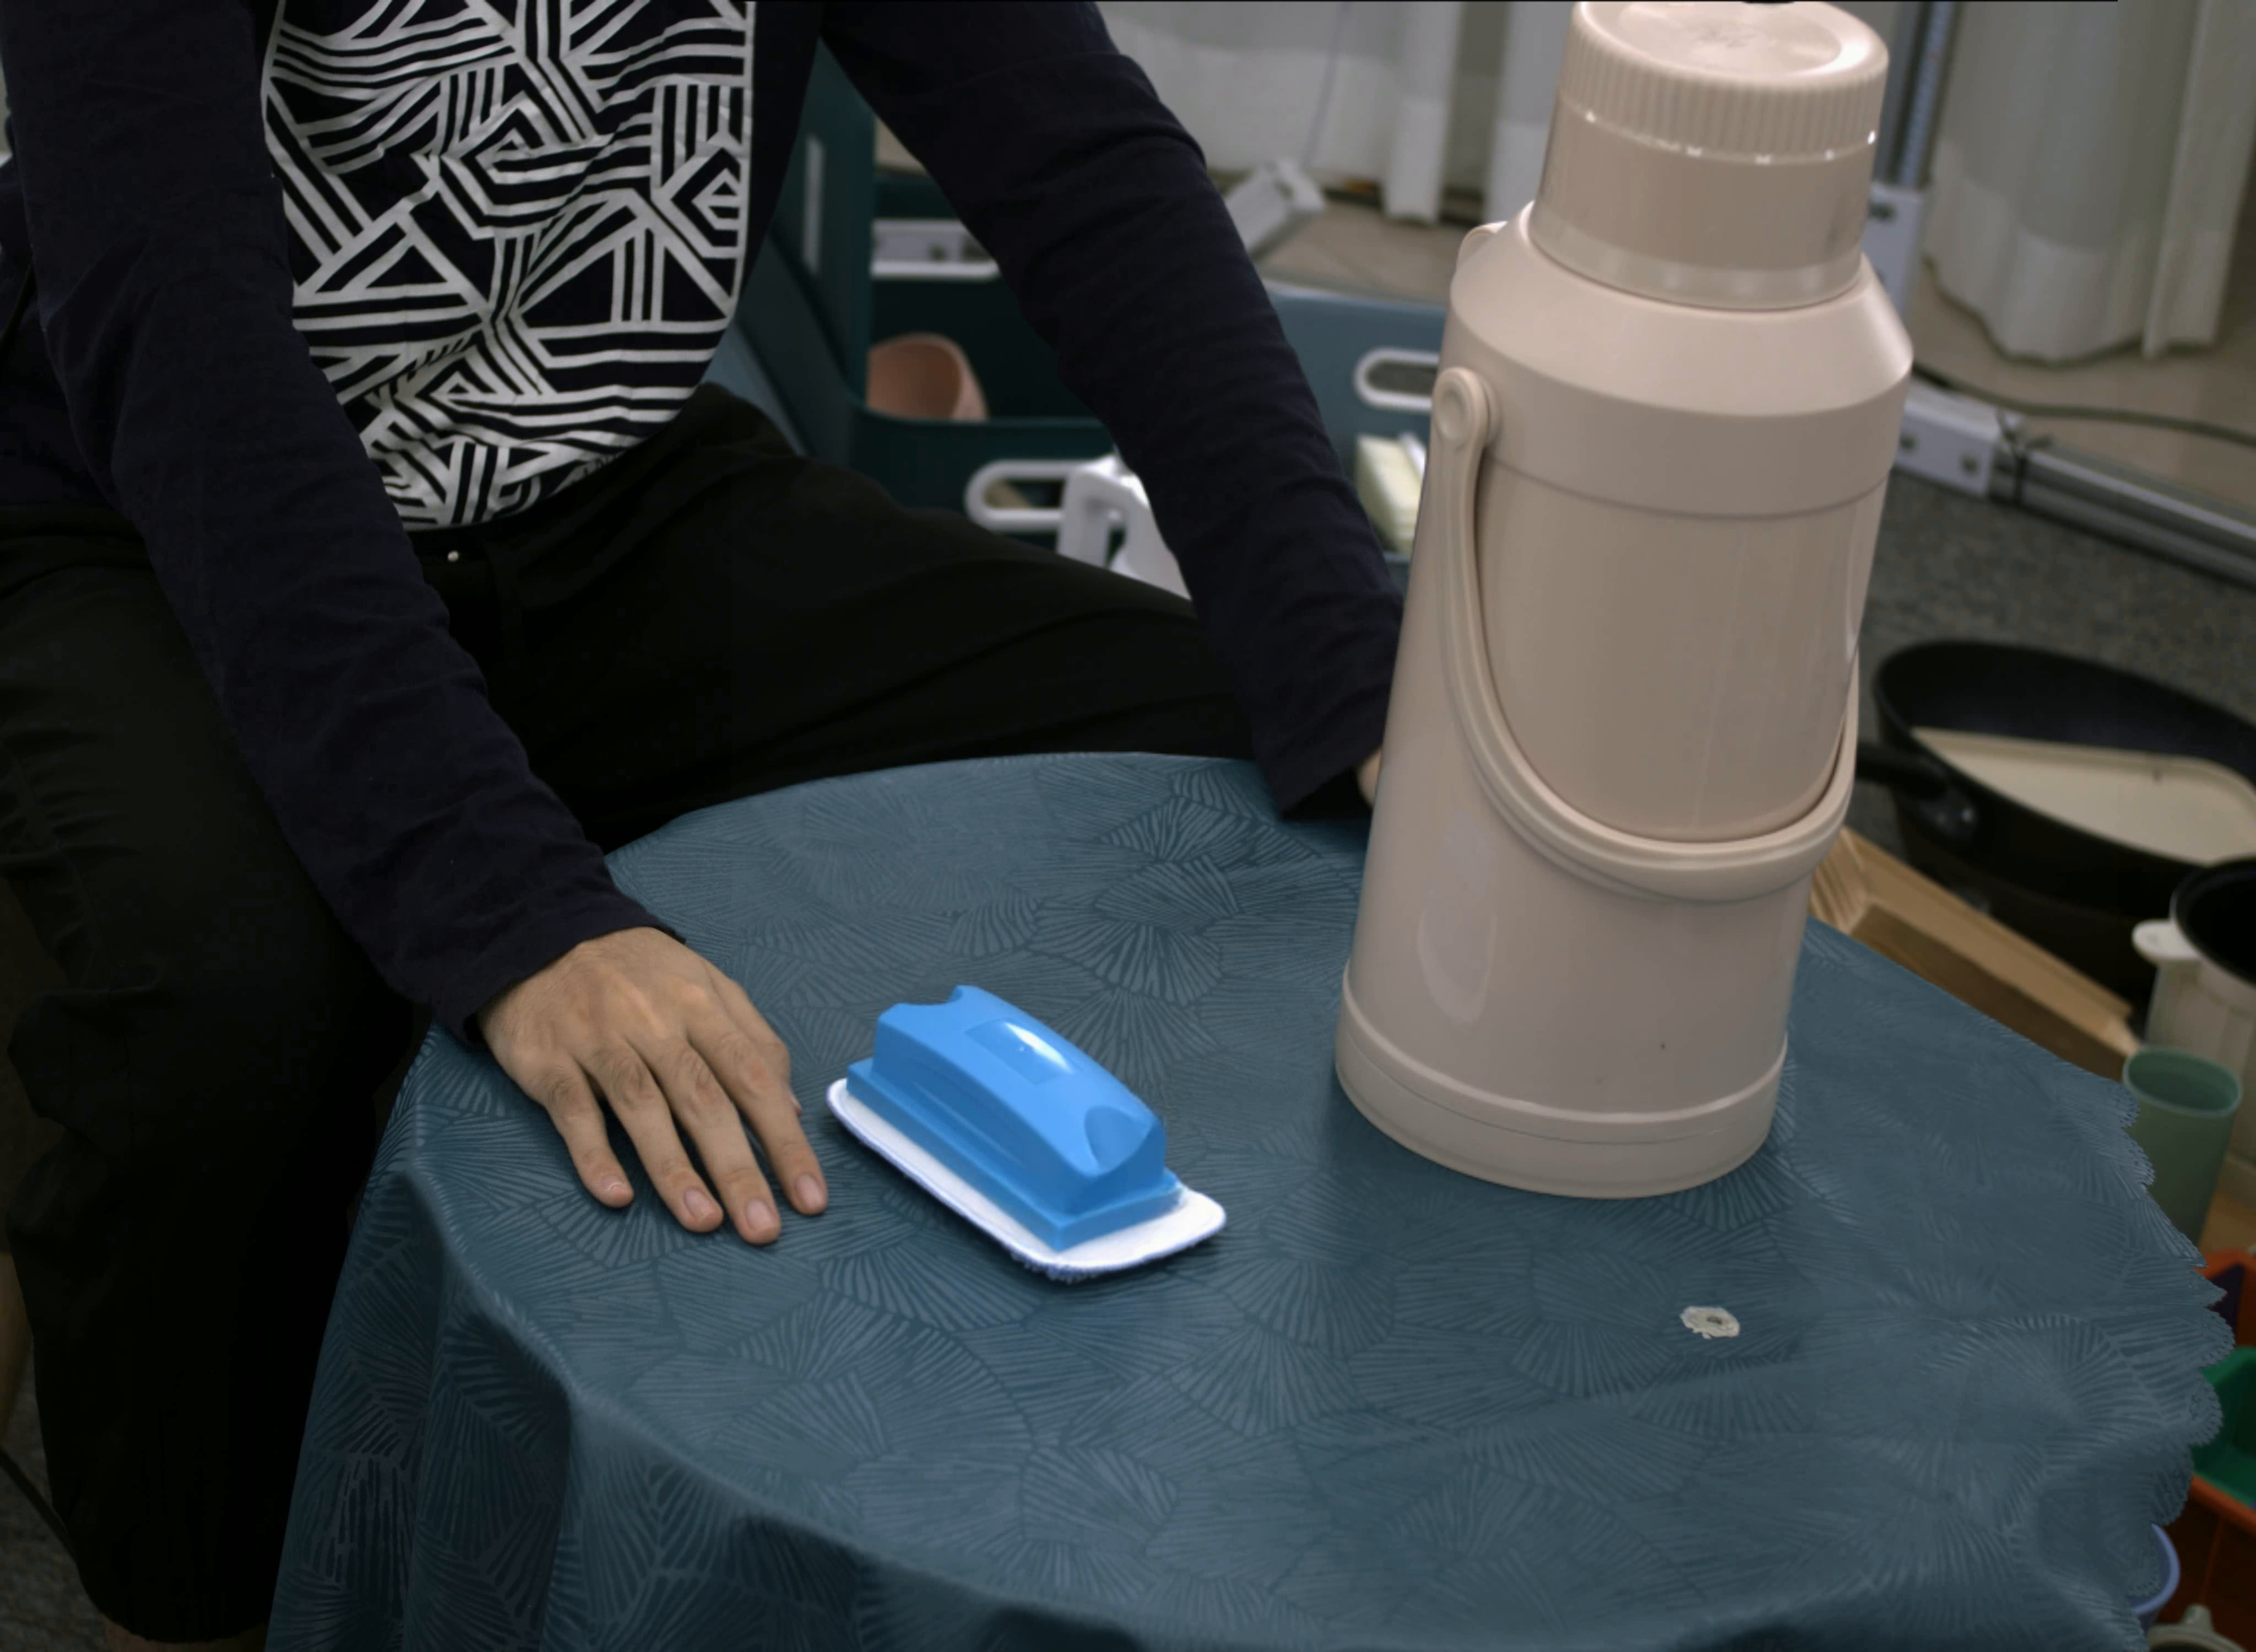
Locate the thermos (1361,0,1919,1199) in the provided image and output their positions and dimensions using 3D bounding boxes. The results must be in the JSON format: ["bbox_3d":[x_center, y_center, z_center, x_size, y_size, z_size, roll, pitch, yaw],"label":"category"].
[{"bbox_3d":[0.171,-0.089,1.826,0.174,0.405,0.209,-11,30,-28],"label":"thermos"}]

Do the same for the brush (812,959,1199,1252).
[{"bbox_3d":[-0.039,0.090,1.796,0.083,0.056,0.145,-10,34,-36],"label":"brush"}]
